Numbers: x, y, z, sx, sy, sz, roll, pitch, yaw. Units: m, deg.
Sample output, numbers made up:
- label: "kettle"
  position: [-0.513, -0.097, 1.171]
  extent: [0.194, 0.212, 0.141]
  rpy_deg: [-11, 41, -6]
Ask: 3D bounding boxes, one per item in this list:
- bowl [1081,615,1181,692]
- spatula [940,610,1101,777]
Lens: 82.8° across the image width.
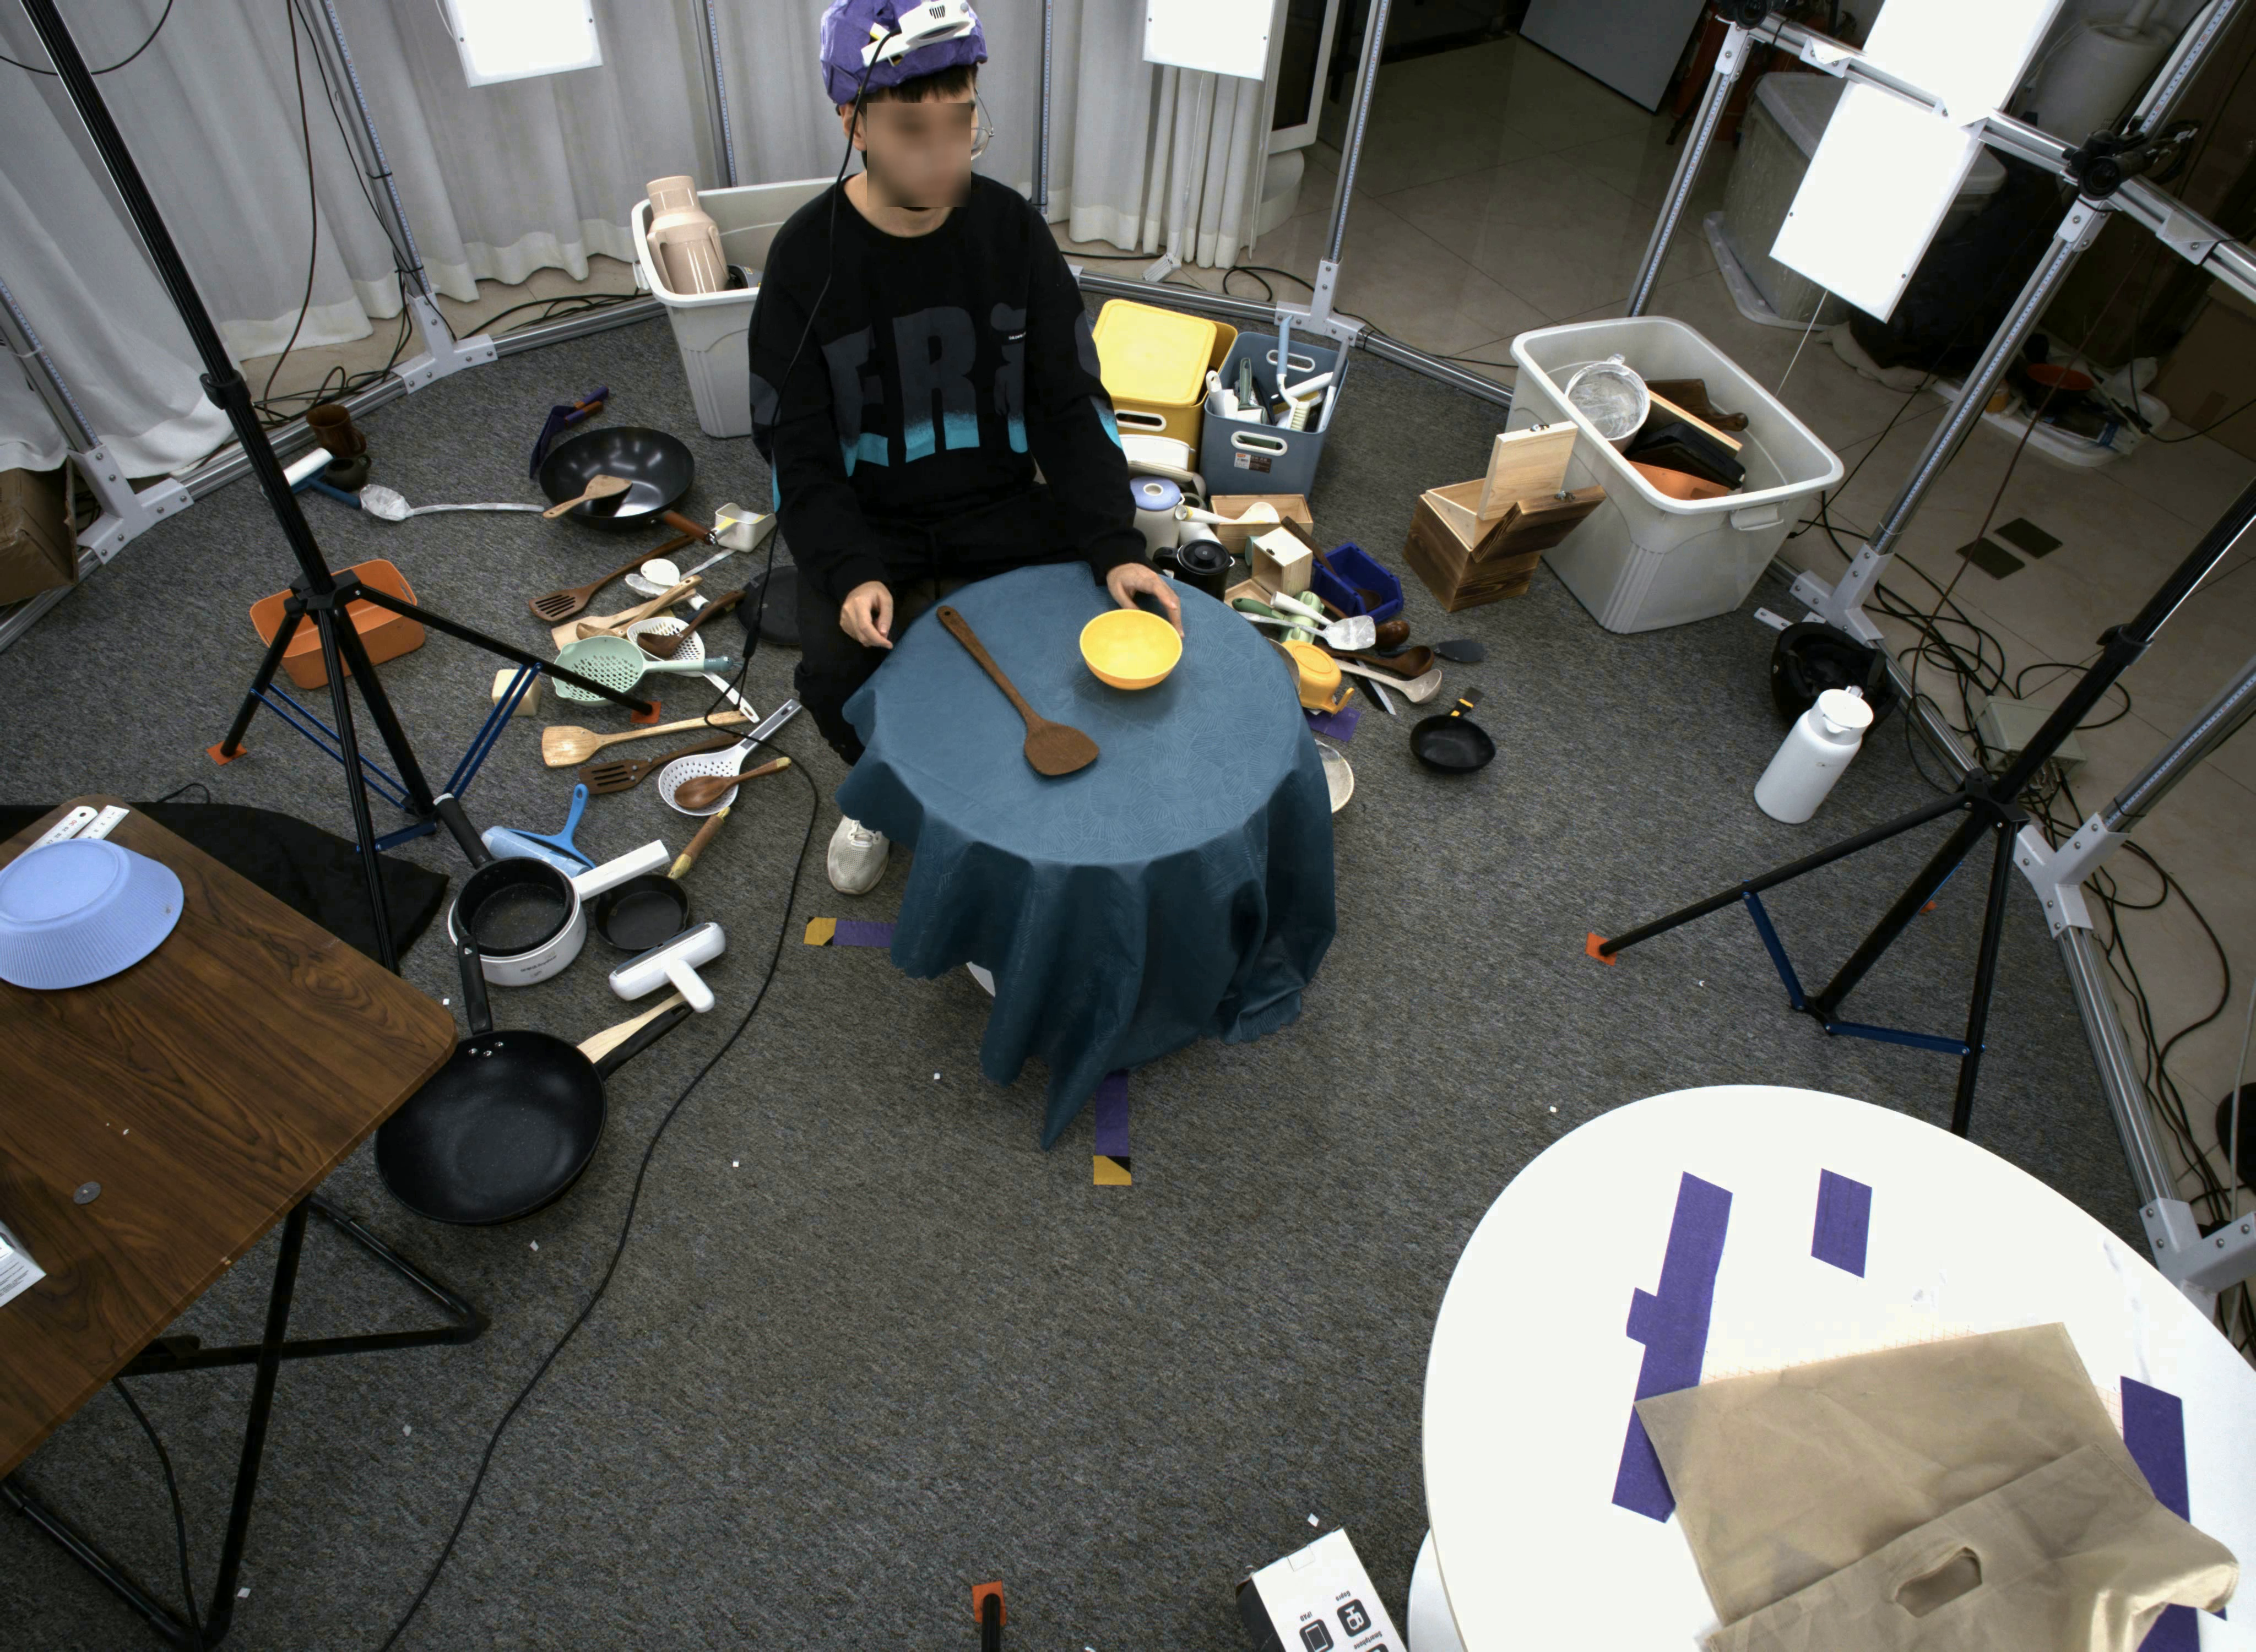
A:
- label: "bowl"
  position: [0.002, -0.238, 1.856]
  extent: [0.145, 0.058, 0.149]
  rpy_deg: [3, 47, -3]
- label: "spatula"
  position: [-0.173, -0.200, 1.838]
  extent: [0.096, 0.015, 0.394]
  rpy_deg: [-24, 54, -23]
